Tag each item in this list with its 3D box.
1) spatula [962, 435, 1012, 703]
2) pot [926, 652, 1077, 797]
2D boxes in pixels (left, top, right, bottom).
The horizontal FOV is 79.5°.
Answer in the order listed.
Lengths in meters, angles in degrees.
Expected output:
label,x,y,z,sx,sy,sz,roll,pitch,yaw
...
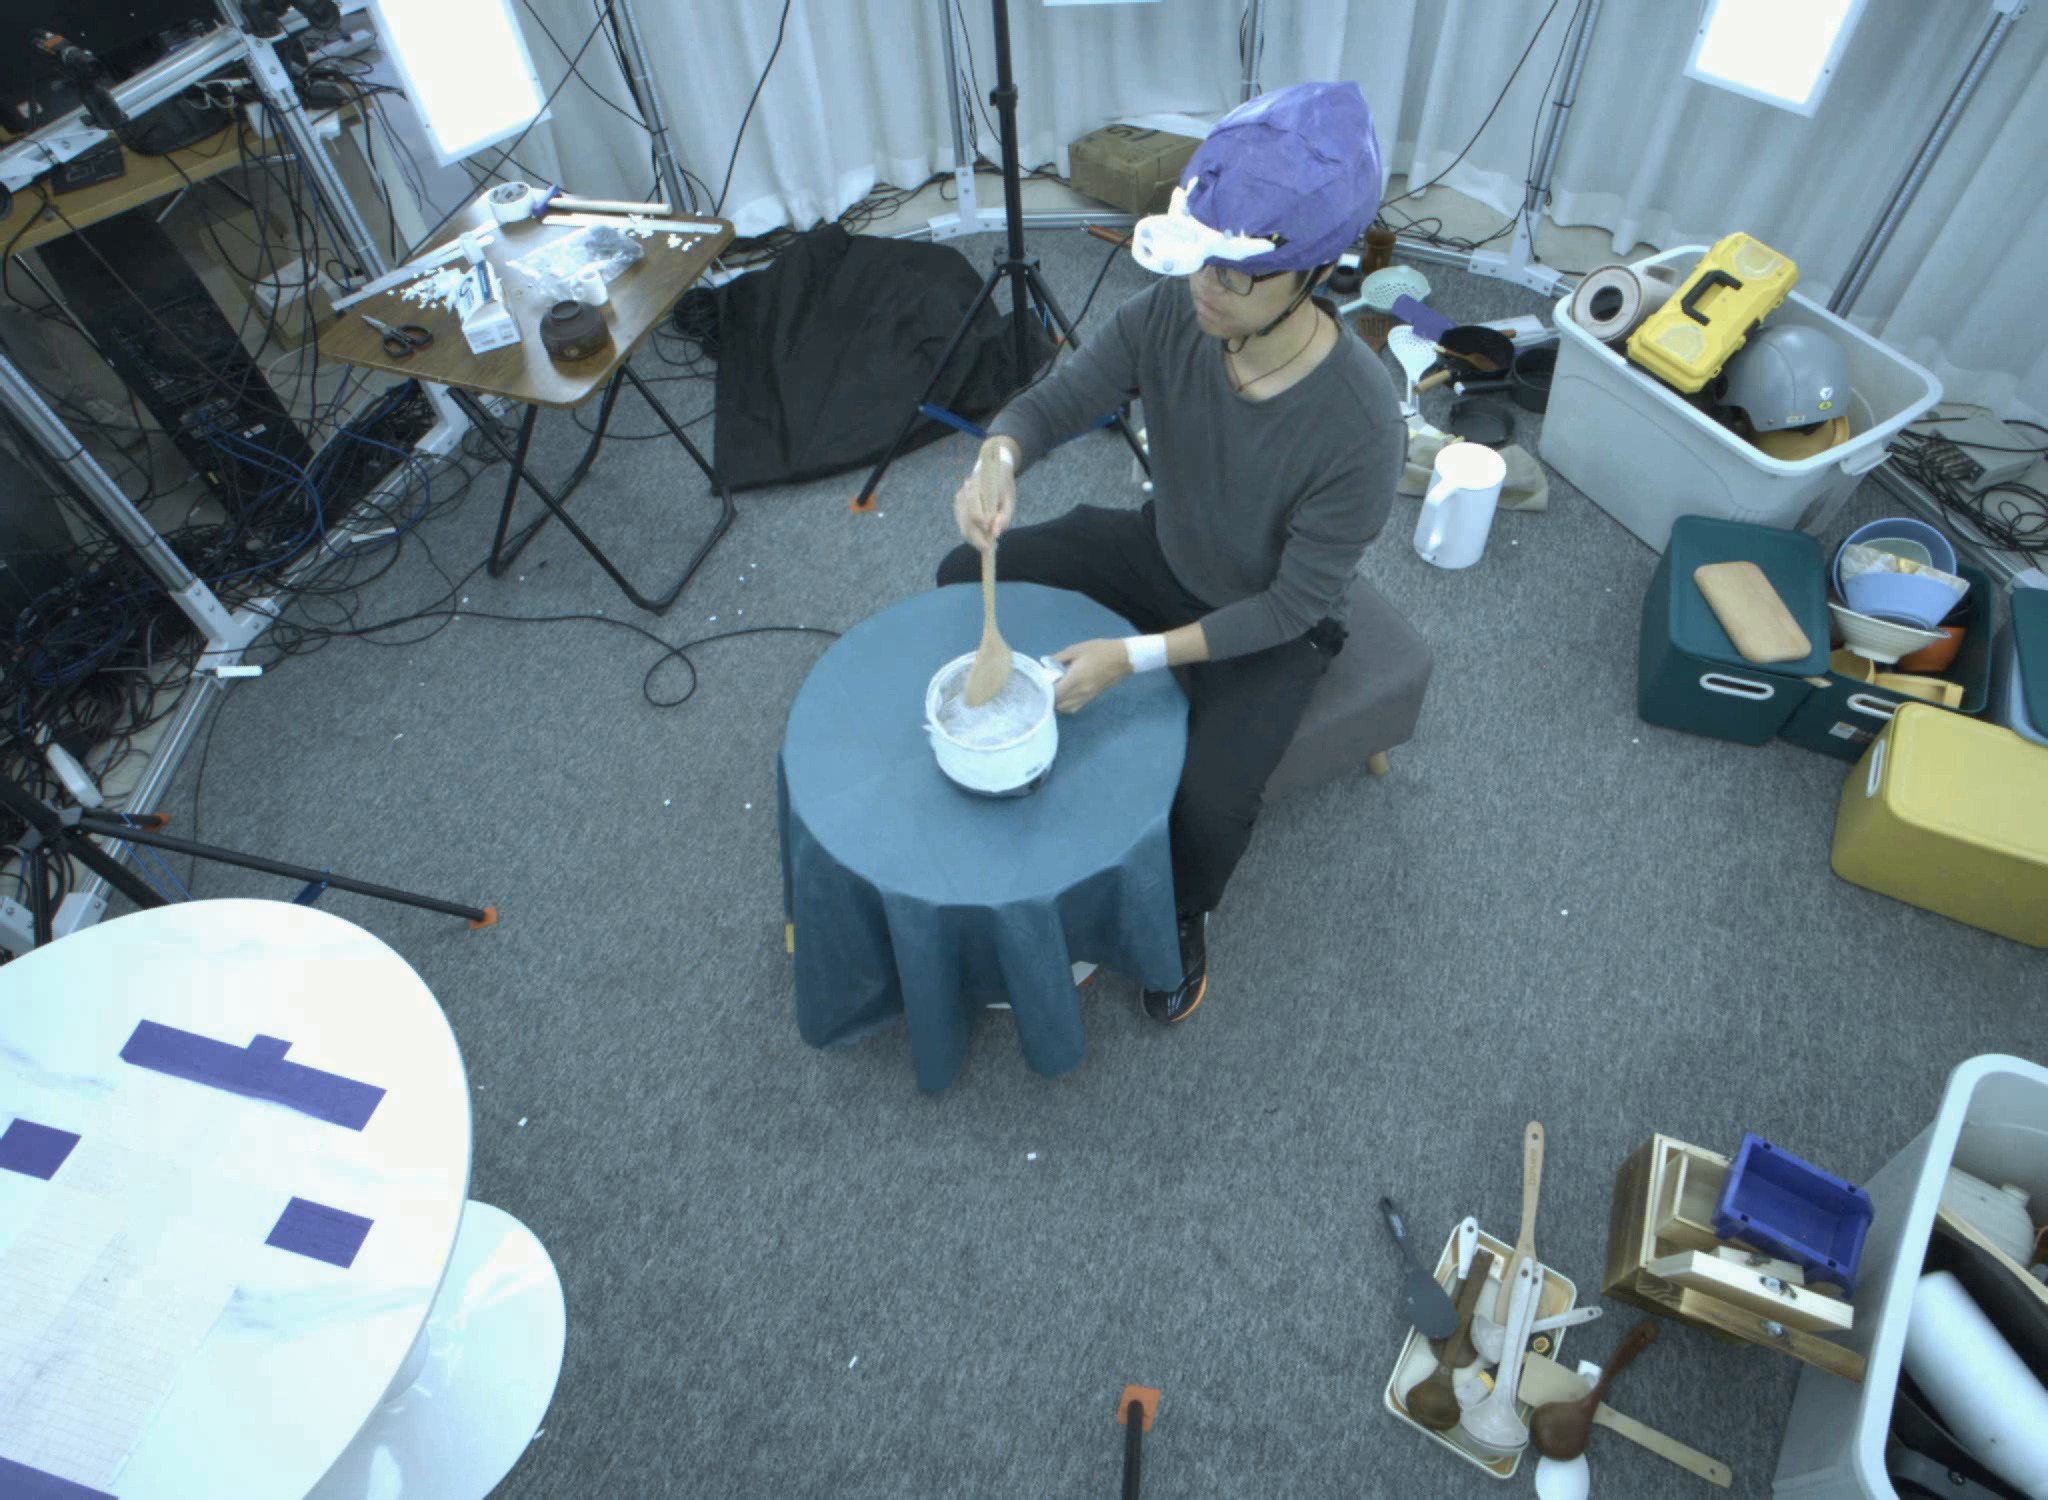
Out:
label,x,y,z,sx,sy,sz,roll,pitch,yaw
spatula,-0.044,-0.226,1.575,0.018,0.394,0.097,27,45,29
pot,-0.022,-0.047,1.747,0.235,0.138,0.175,-35,60,-22
